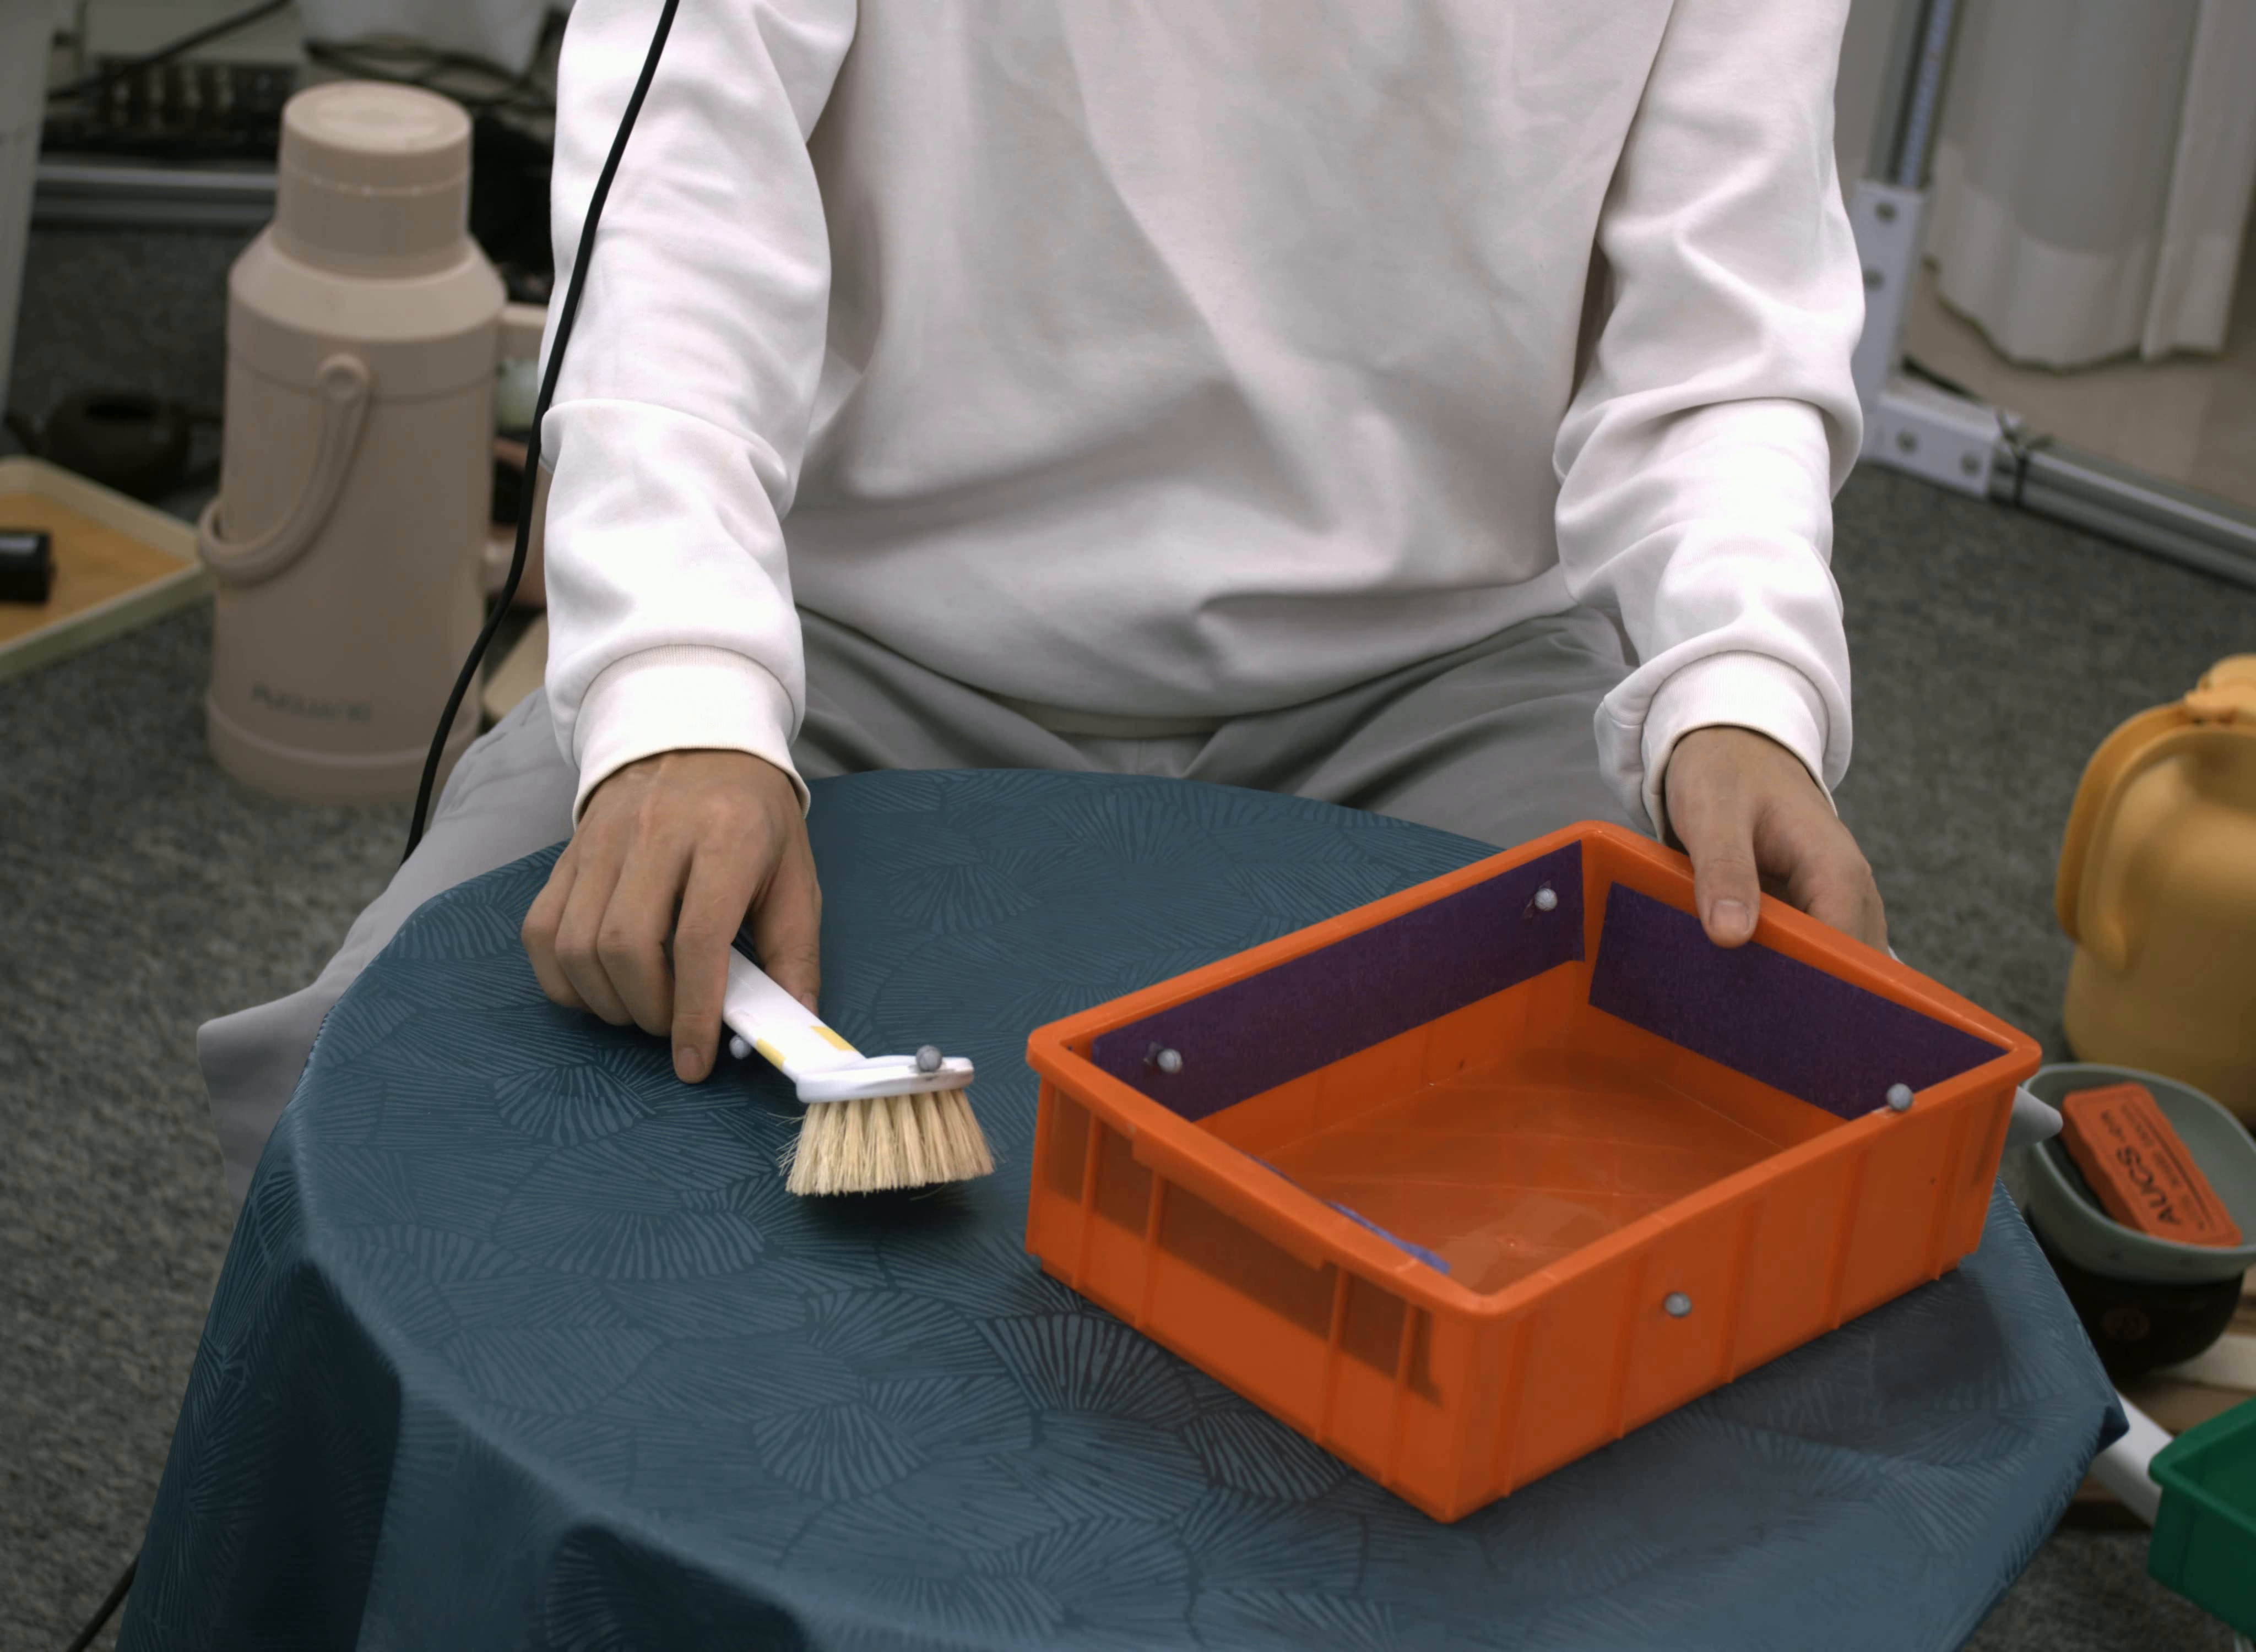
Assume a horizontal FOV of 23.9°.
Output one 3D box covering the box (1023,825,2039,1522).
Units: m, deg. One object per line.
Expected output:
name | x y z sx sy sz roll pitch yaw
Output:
box | 0.131 0.112 1.768 0.302 0.096 0.208 -17 34 -42

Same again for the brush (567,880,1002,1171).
brush | -0.128 0.073 1.856 0.068 0.056 0.268 5 9 -35
